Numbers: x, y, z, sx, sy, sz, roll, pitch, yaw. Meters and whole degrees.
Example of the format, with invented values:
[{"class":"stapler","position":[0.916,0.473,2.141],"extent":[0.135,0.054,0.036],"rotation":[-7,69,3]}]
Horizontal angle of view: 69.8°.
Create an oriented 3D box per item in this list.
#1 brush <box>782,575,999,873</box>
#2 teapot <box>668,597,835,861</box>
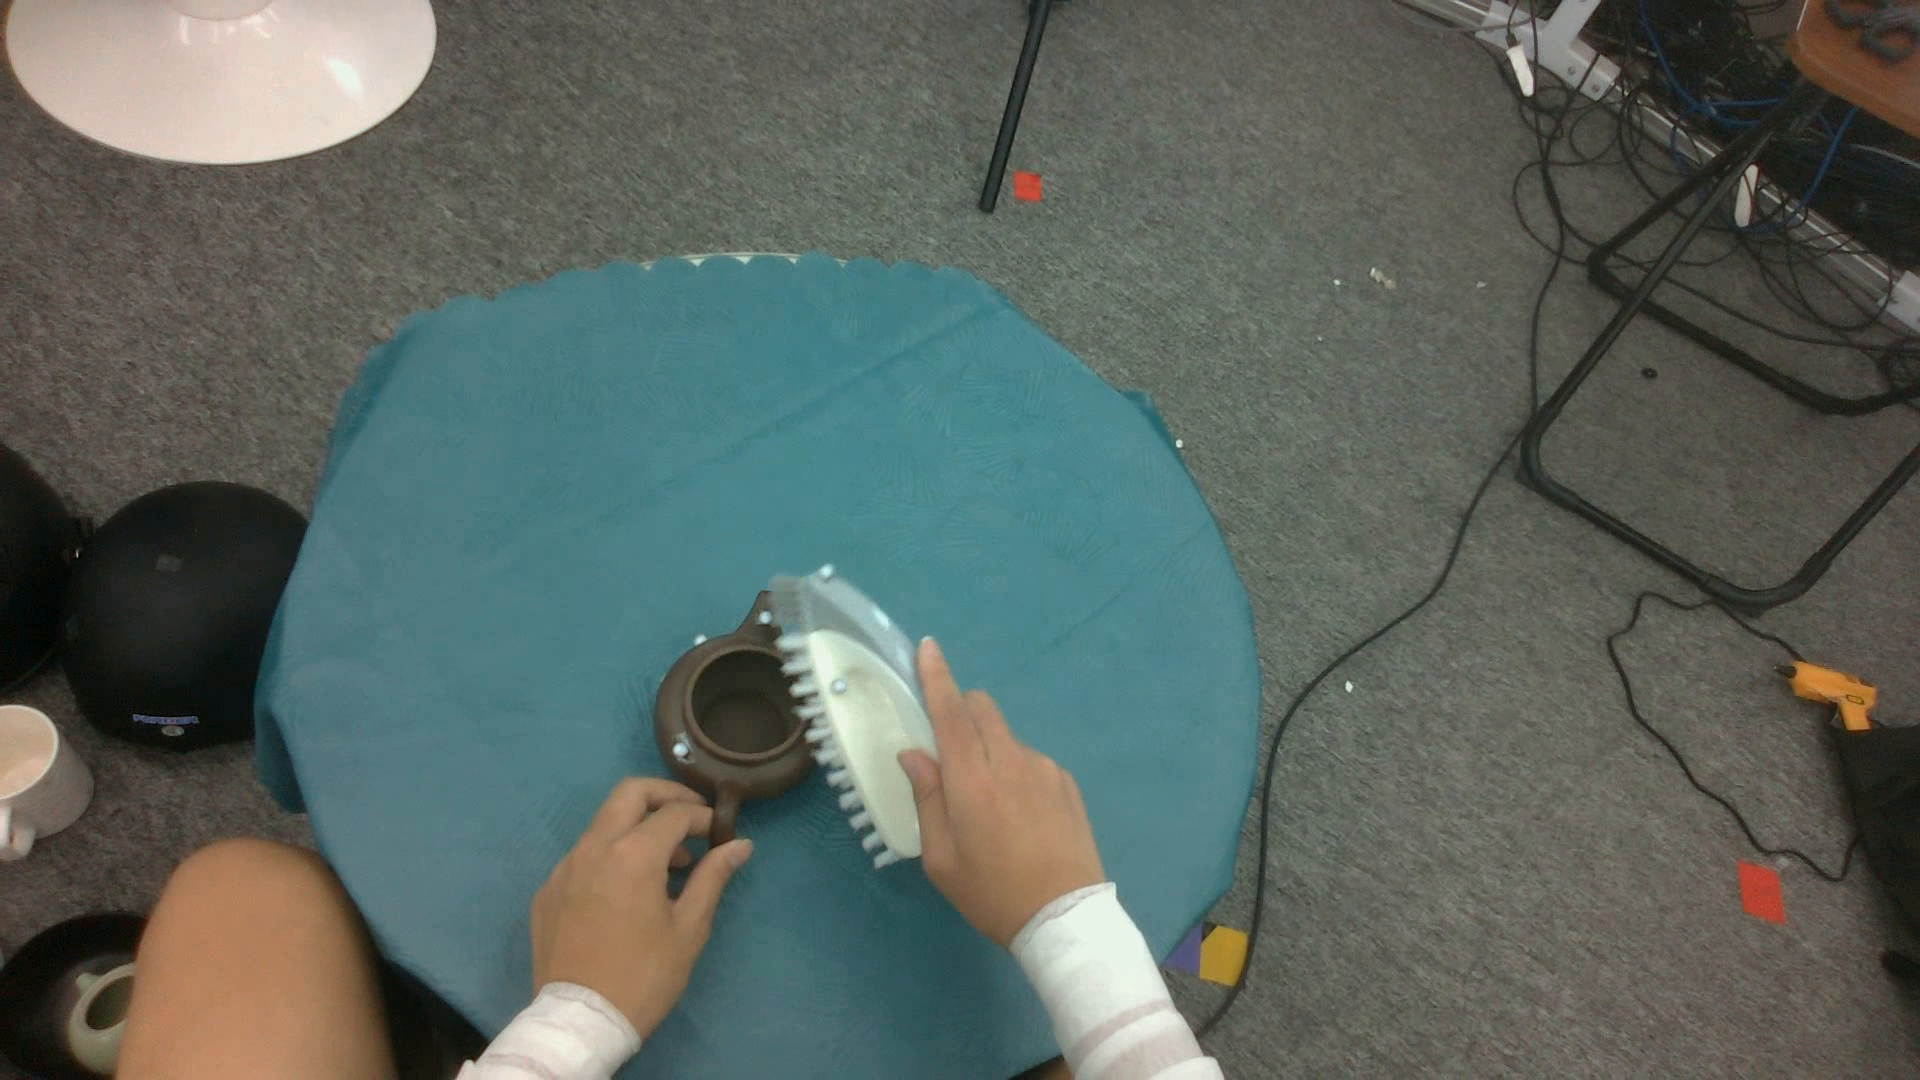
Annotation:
[{"class":"brush","position":[-0.036,0.092,0.760],"extent":[0.062,0.094,0.175],"rotation":[-25,87,-44]},{"class":"teapot","position":[-0.117,0.110,0.796],"extent":[0.103,0.053,0.154],"rotation":[3,58,-10]}]
